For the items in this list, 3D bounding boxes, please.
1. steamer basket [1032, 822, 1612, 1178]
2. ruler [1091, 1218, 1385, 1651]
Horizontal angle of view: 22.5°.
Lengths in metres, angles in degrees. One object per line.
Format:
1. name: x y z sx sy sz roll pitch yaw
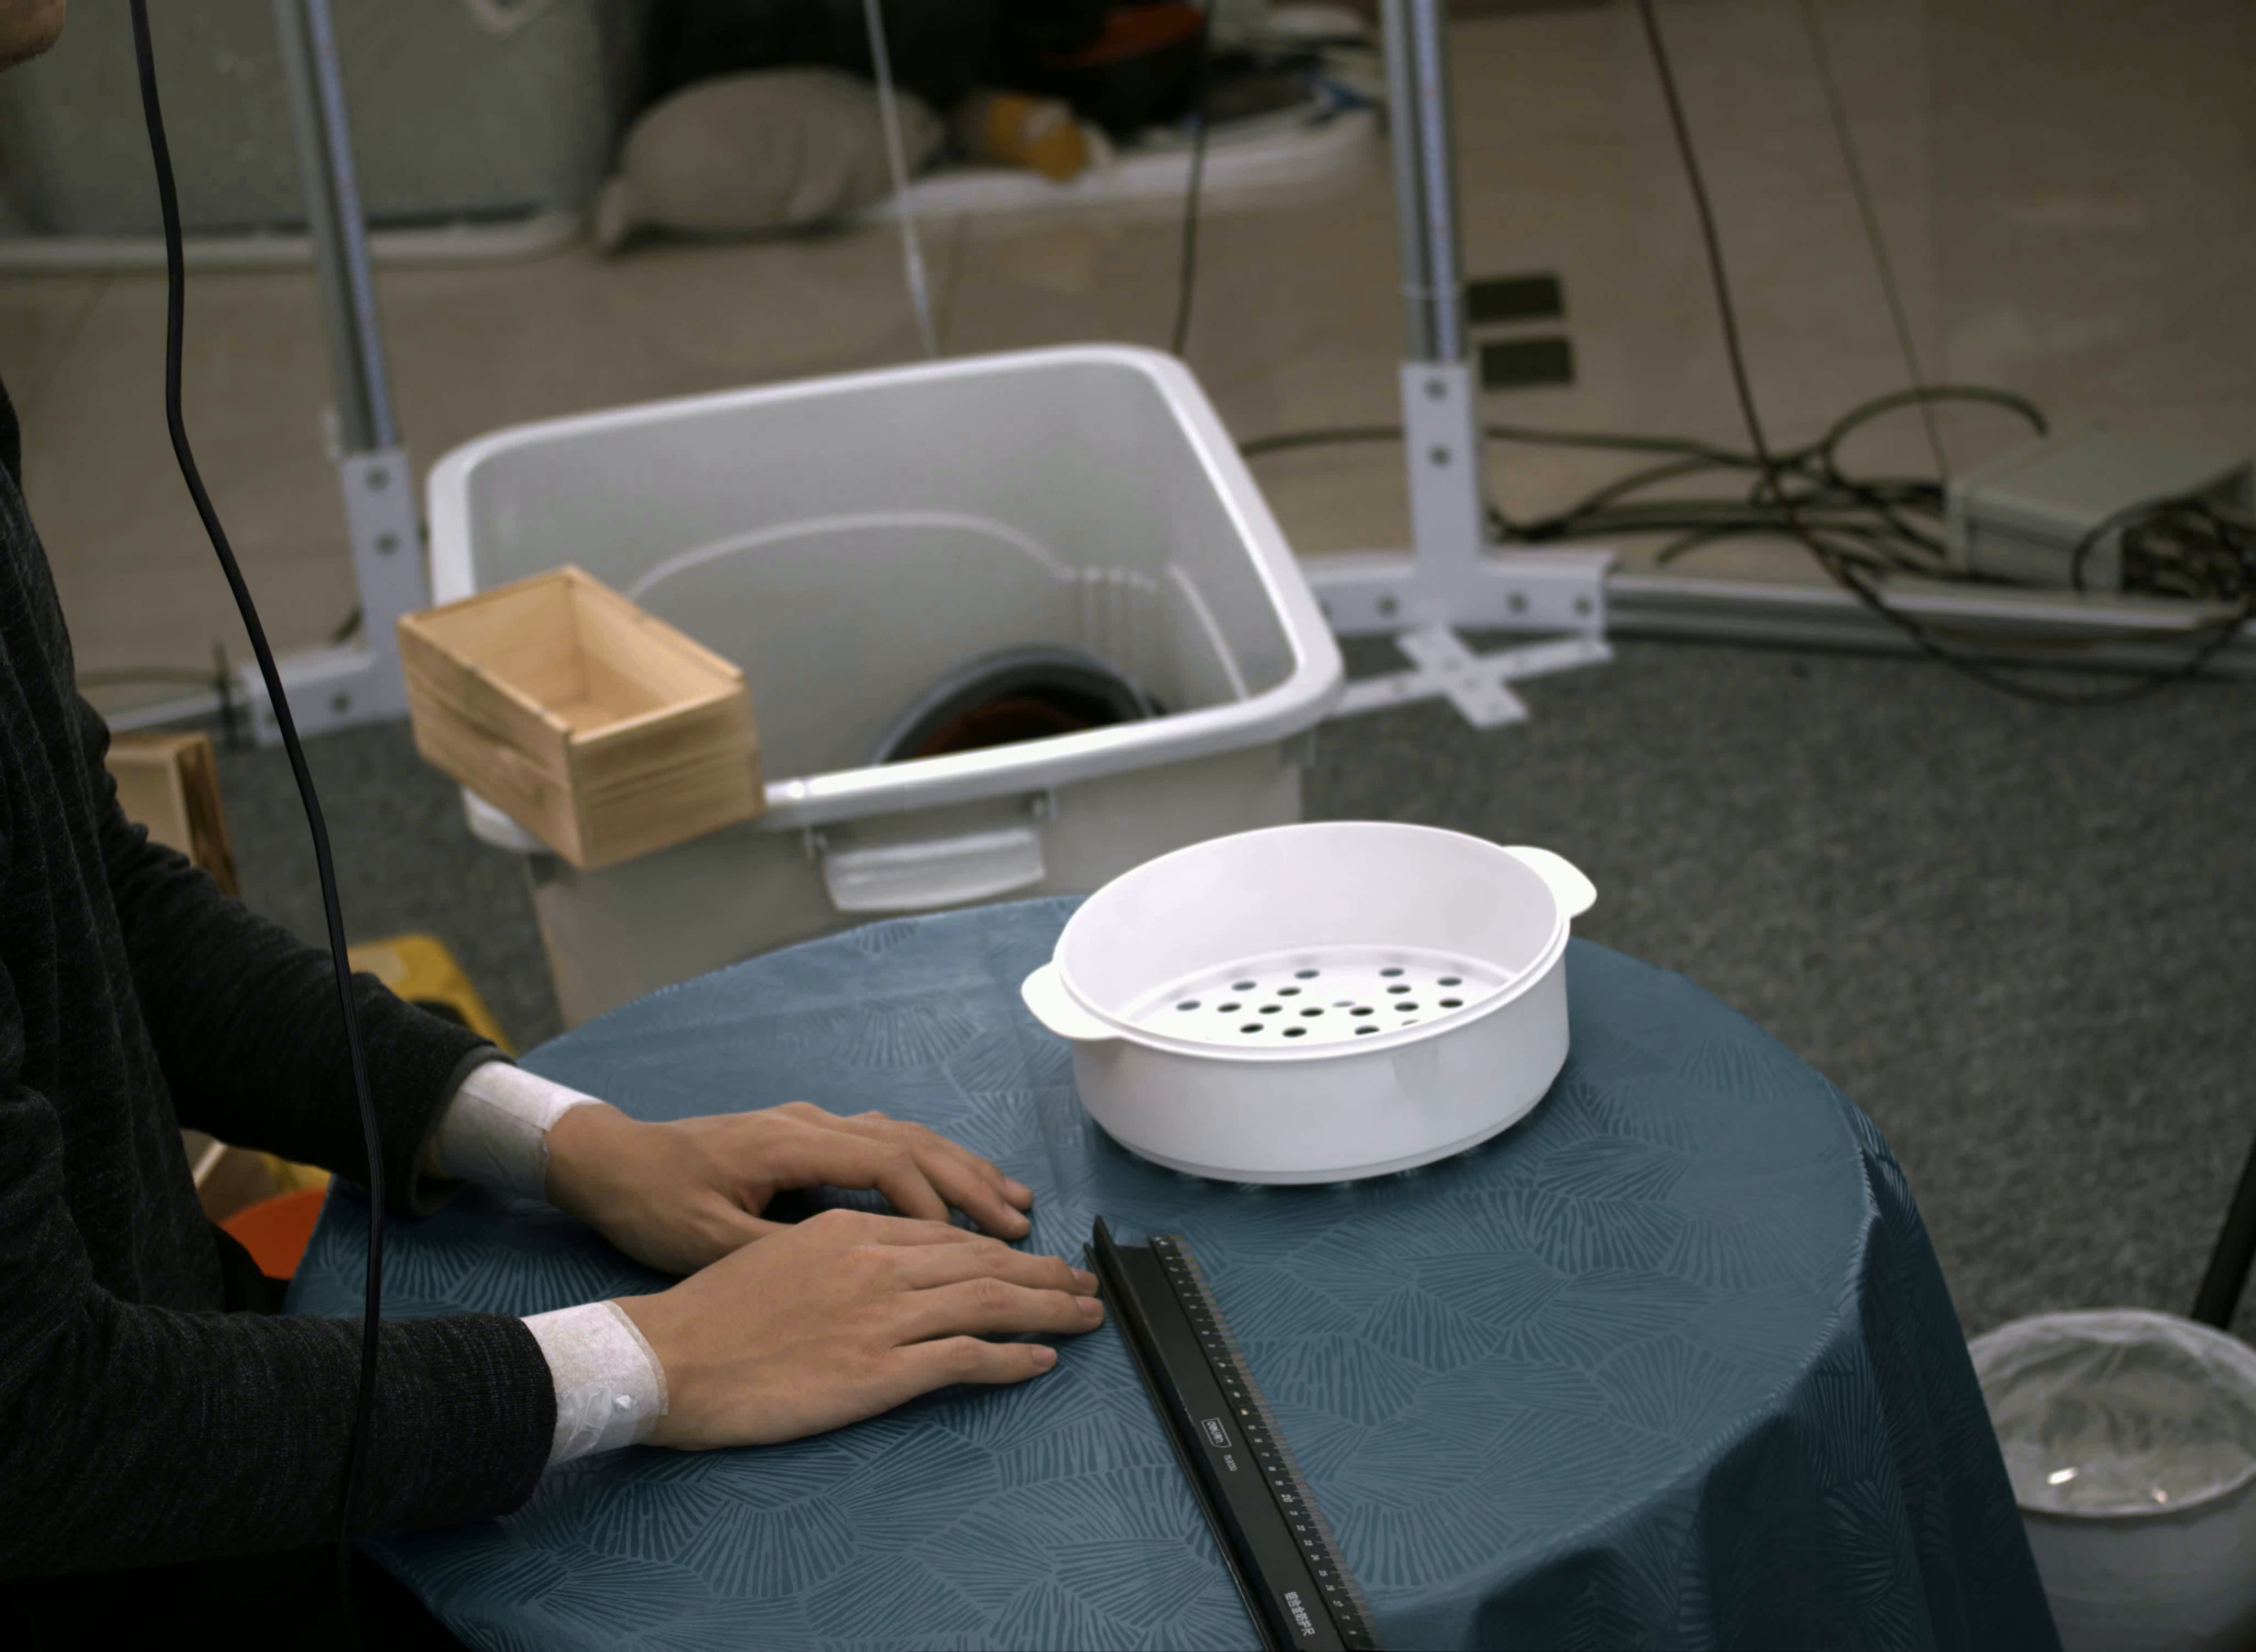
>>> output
1. steamer basket: 0.078 0.068 2.199 0.230 0.070 0.199 -12 25 -17
2. ruler: 0.036 0.209 1.970 0.039 0.017 0.308 -7 24 -10
